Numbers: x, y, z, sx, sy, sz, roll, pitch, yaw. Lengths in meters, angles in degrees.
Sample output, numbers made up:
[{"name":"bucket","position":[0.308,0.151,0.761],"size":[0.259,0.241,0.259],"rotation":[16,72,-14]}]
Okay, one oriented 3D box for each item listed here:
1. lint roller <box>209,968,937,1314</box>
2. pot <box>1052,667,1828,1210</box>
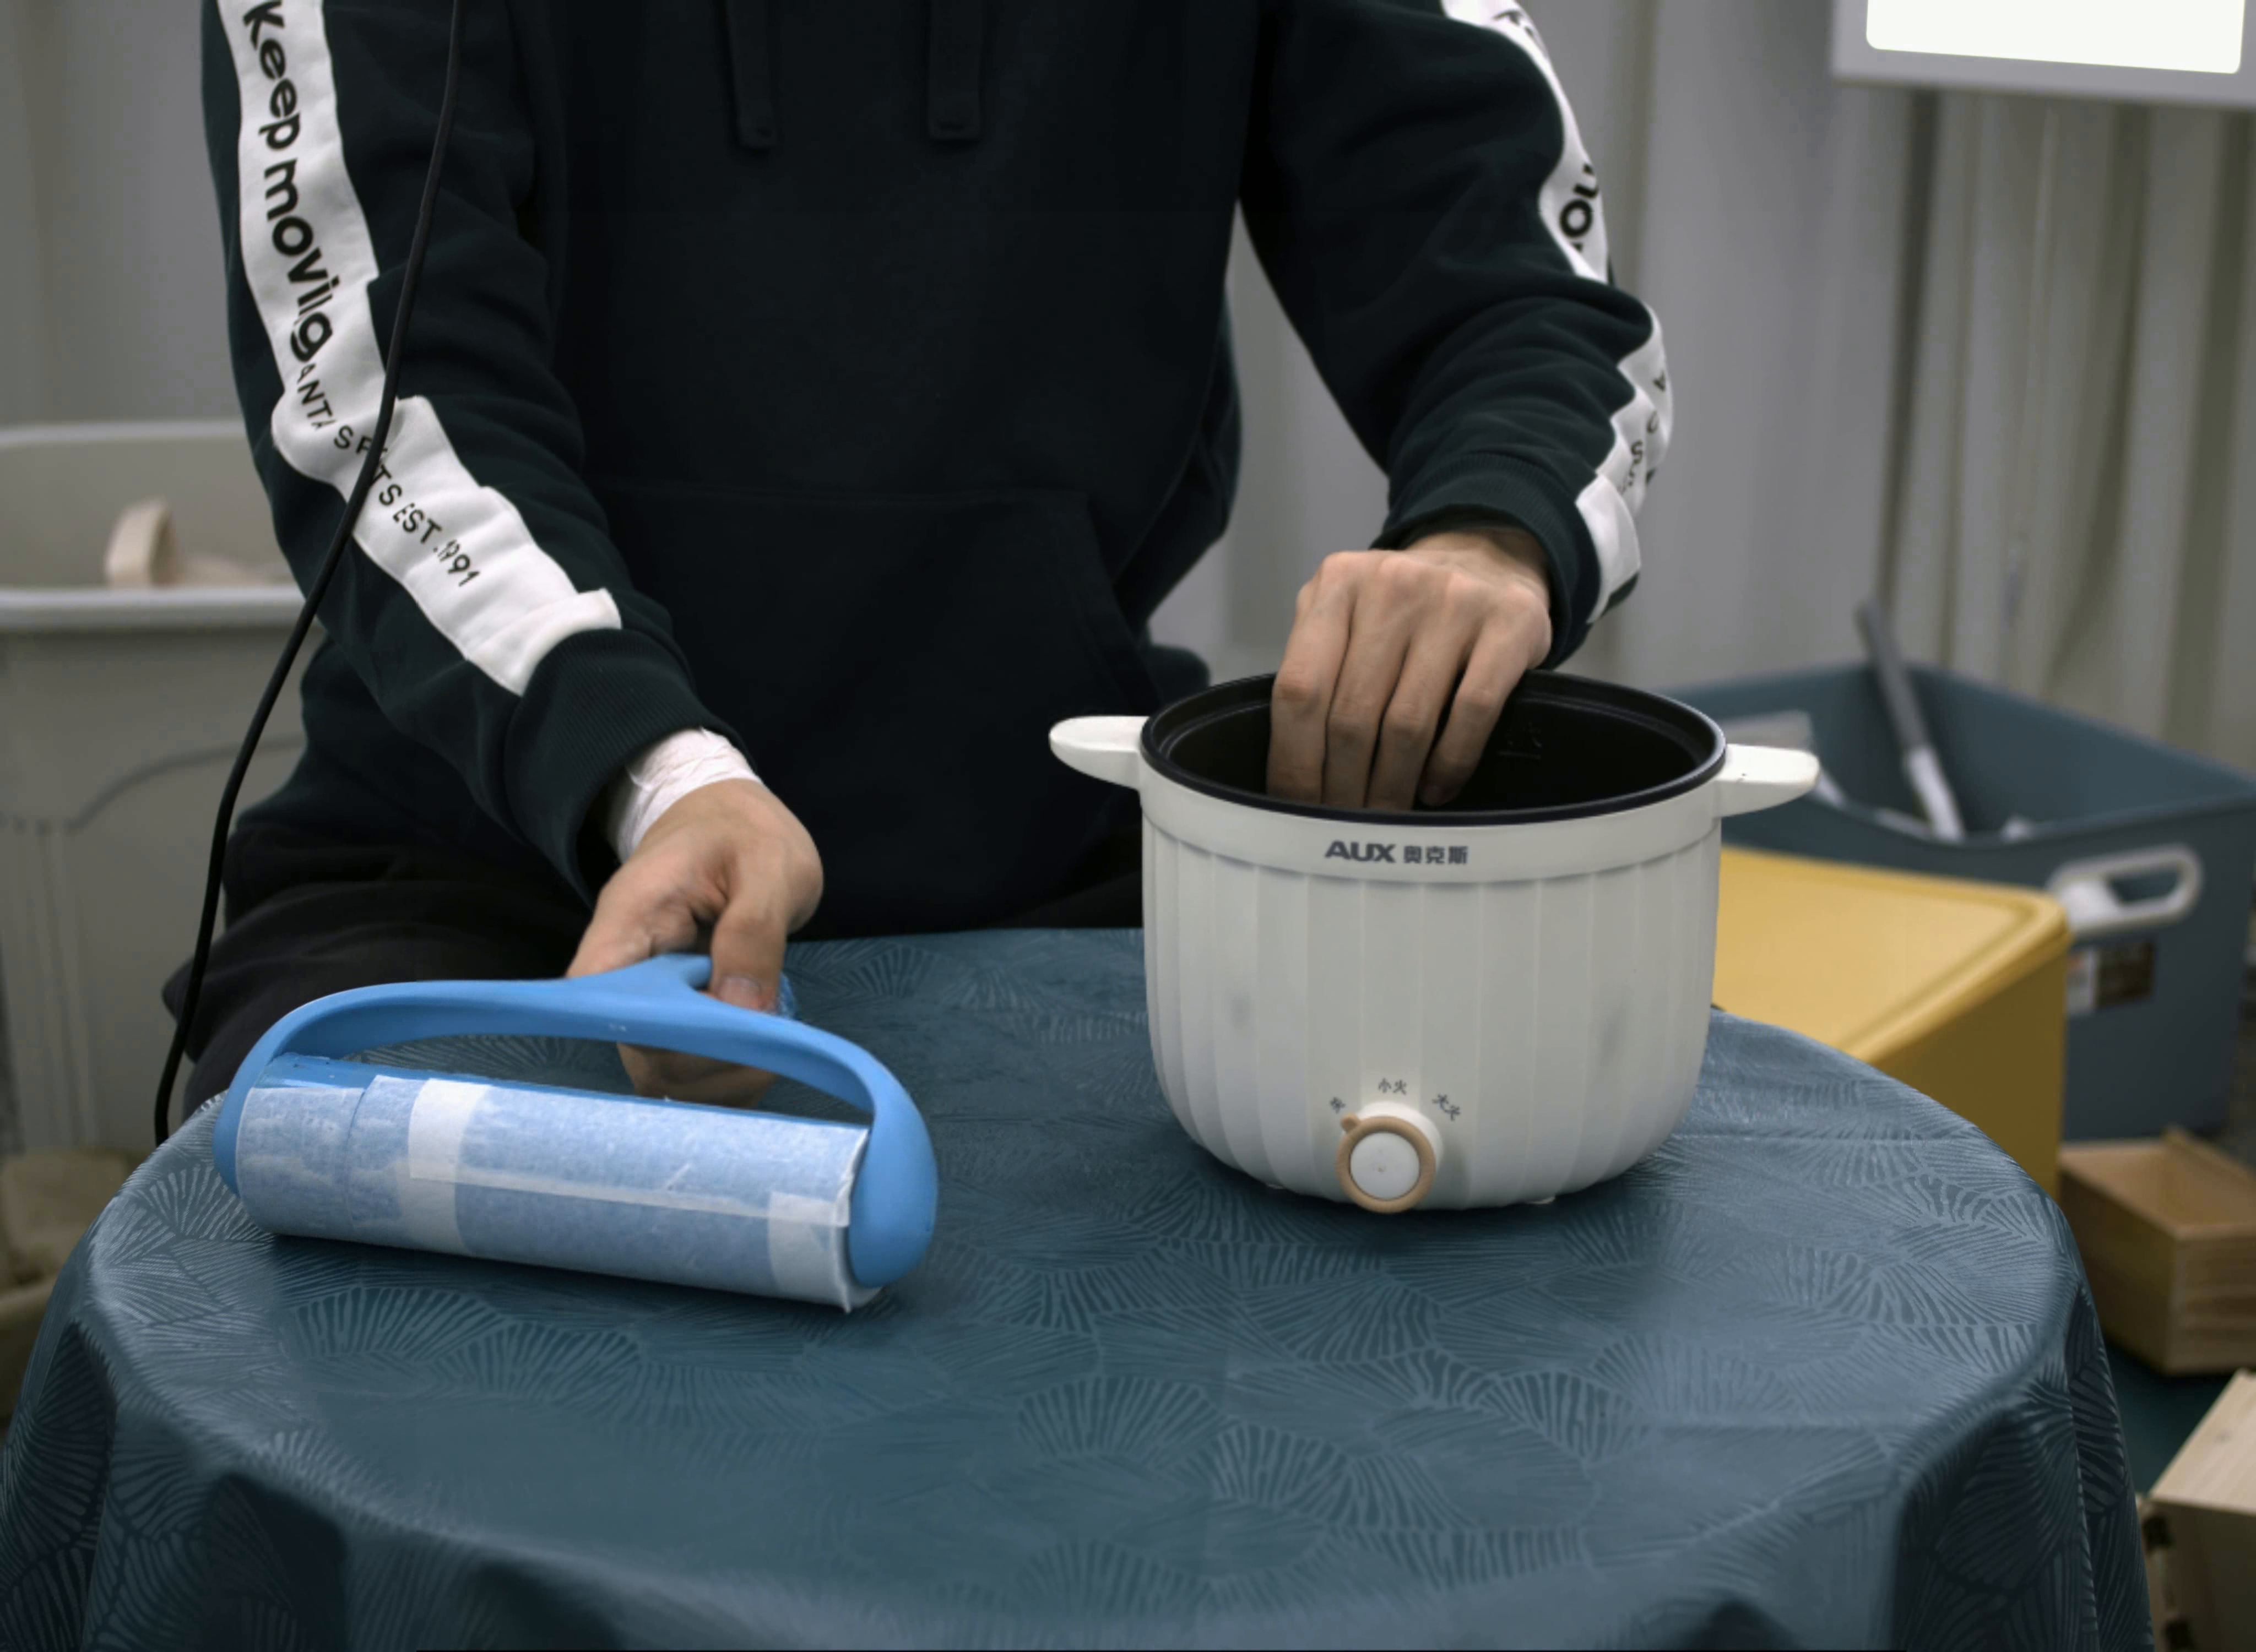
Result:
[{"name":"lint roller","position":[-0.148,0.077,1.592],"size":[0.227,0.069,0.179],"rotation":[3,29,17]},{"name":"pot","position":[0.095,0.037,1.633],"size":[0.239,0.143,0.190],"rotation":[1,13,8]}]
